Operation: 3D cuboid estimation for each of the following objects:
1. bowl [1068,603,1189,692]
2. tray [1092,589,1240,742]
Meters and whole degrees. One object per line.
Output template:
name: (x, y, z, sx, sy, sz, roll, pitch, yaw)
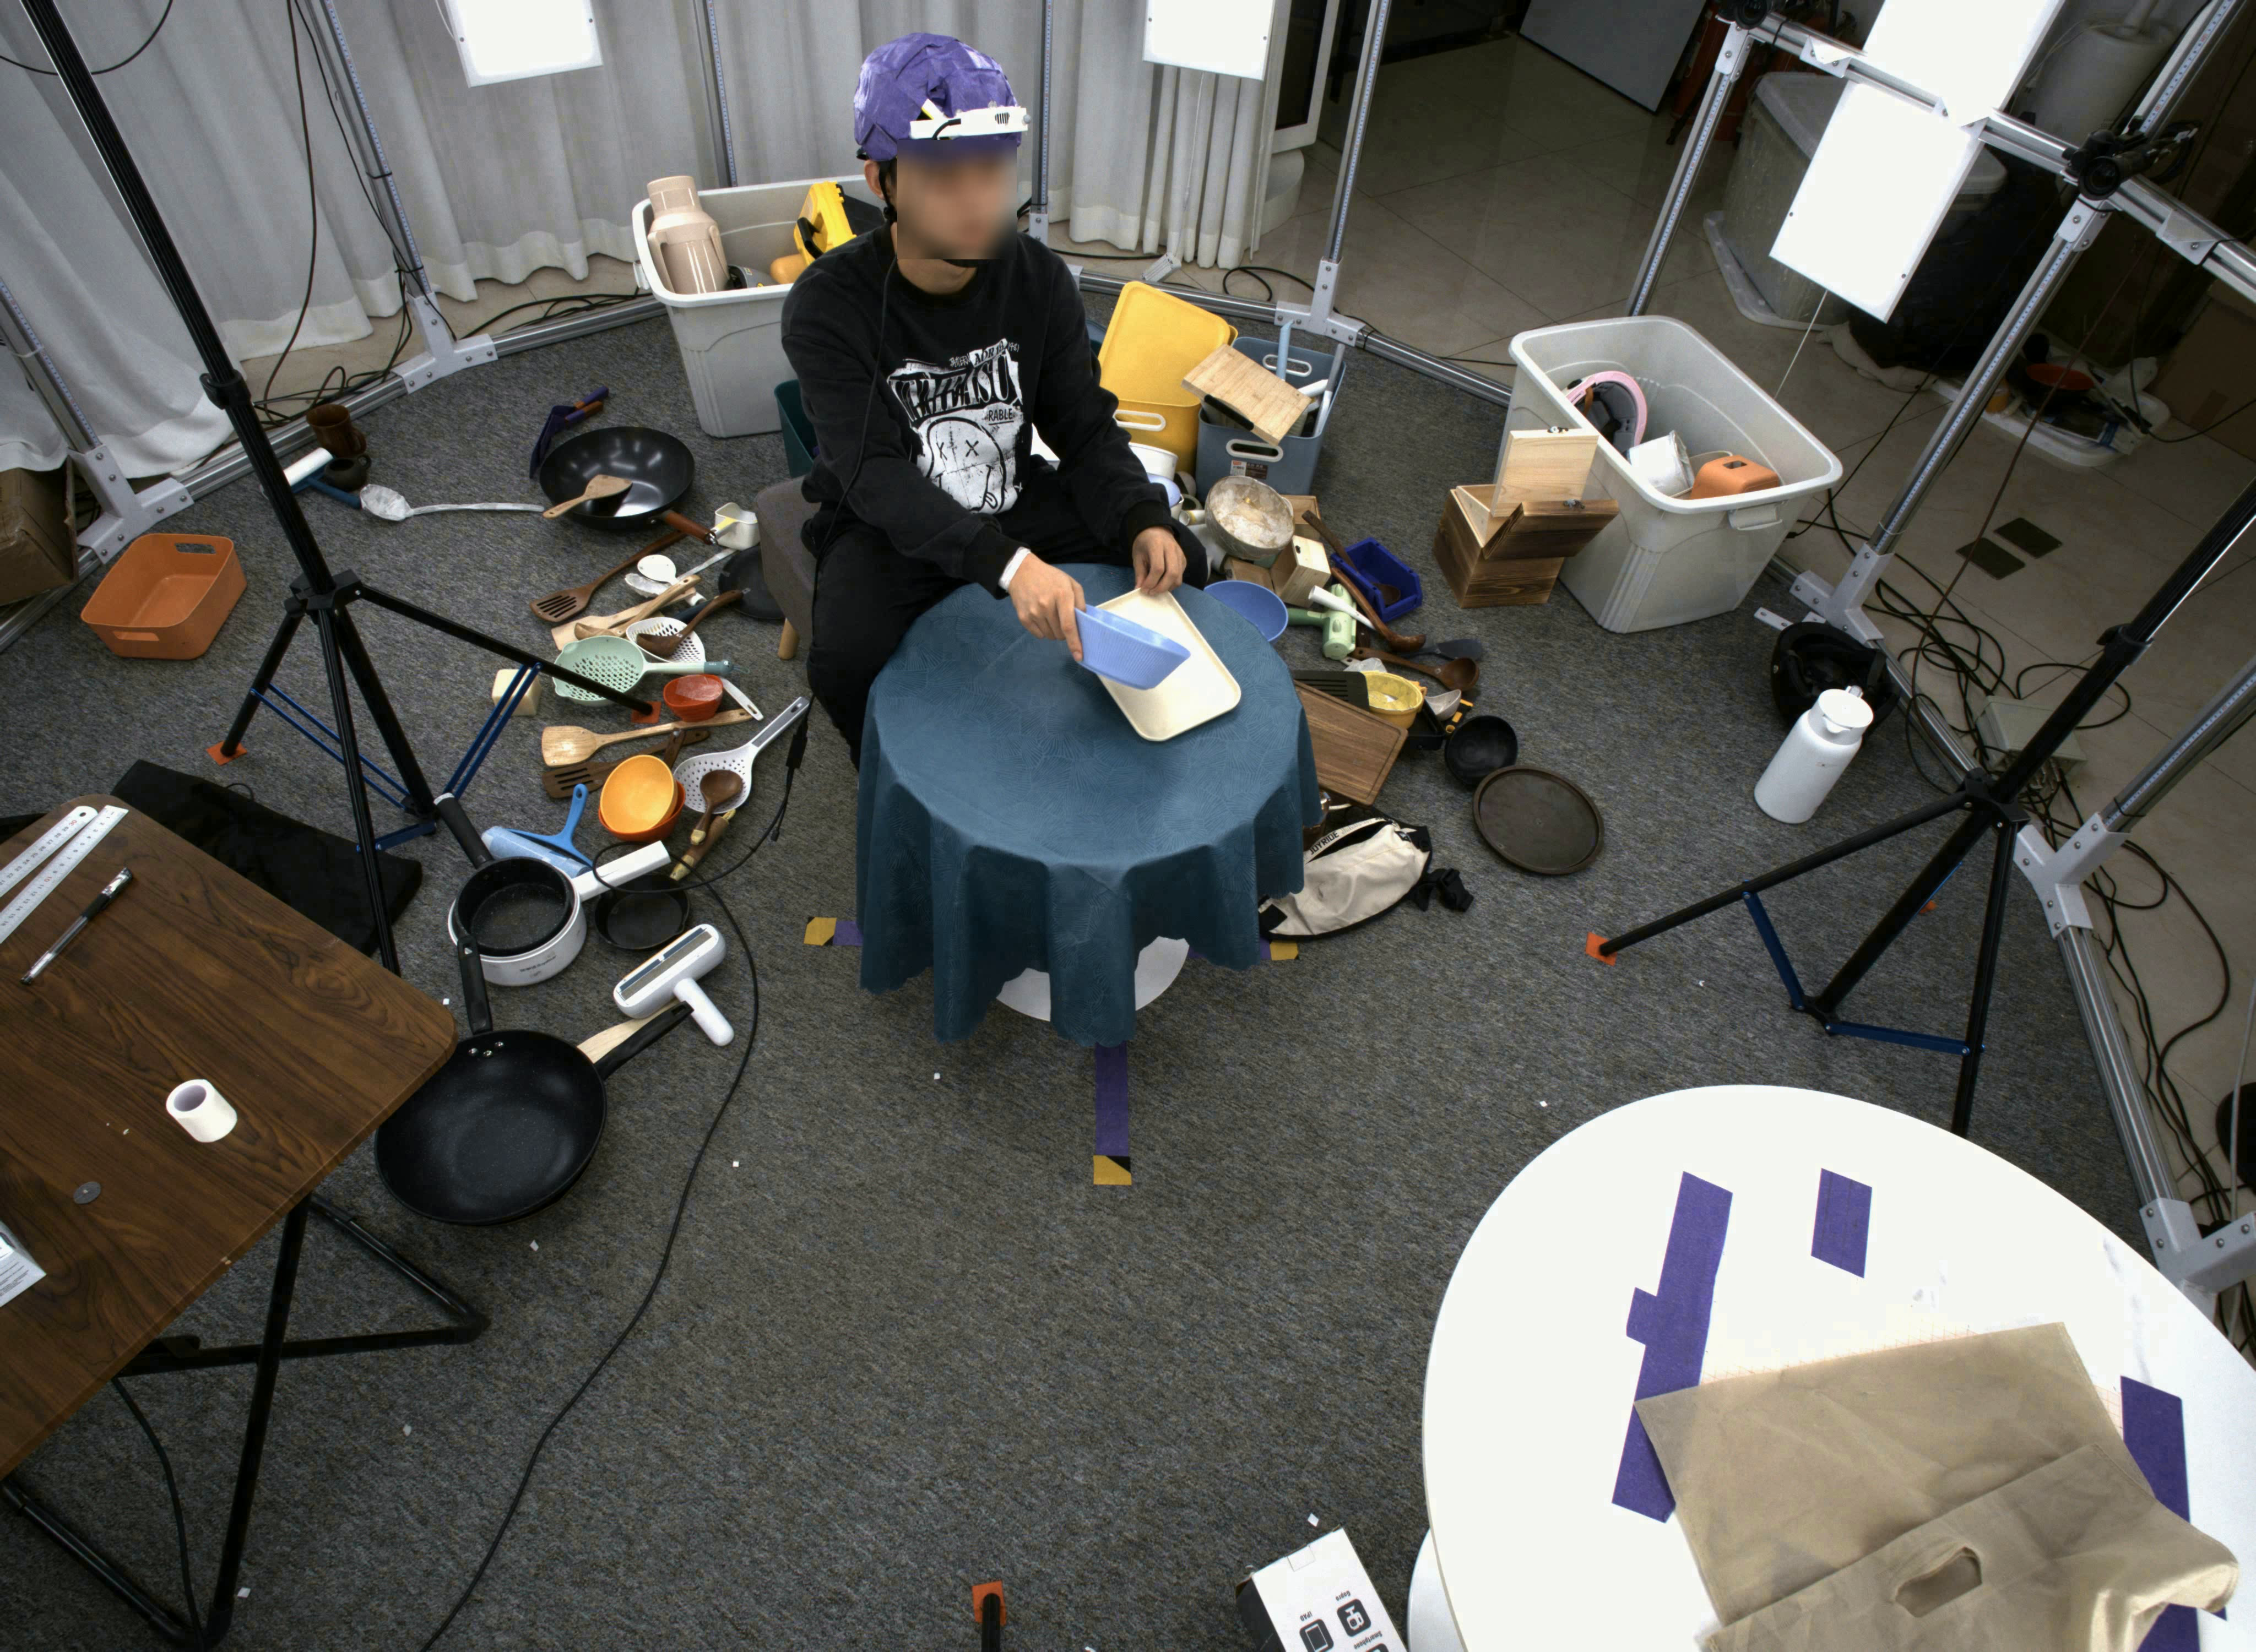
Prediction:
bowl: (-0.011, -0.234, 1.723, 0.175, 0.069, 0.178, 22, 14, -6)
tray: (0.038, -0.233, 1.849, 0.172, 0.017, 0.244, -25, 65, -20)
